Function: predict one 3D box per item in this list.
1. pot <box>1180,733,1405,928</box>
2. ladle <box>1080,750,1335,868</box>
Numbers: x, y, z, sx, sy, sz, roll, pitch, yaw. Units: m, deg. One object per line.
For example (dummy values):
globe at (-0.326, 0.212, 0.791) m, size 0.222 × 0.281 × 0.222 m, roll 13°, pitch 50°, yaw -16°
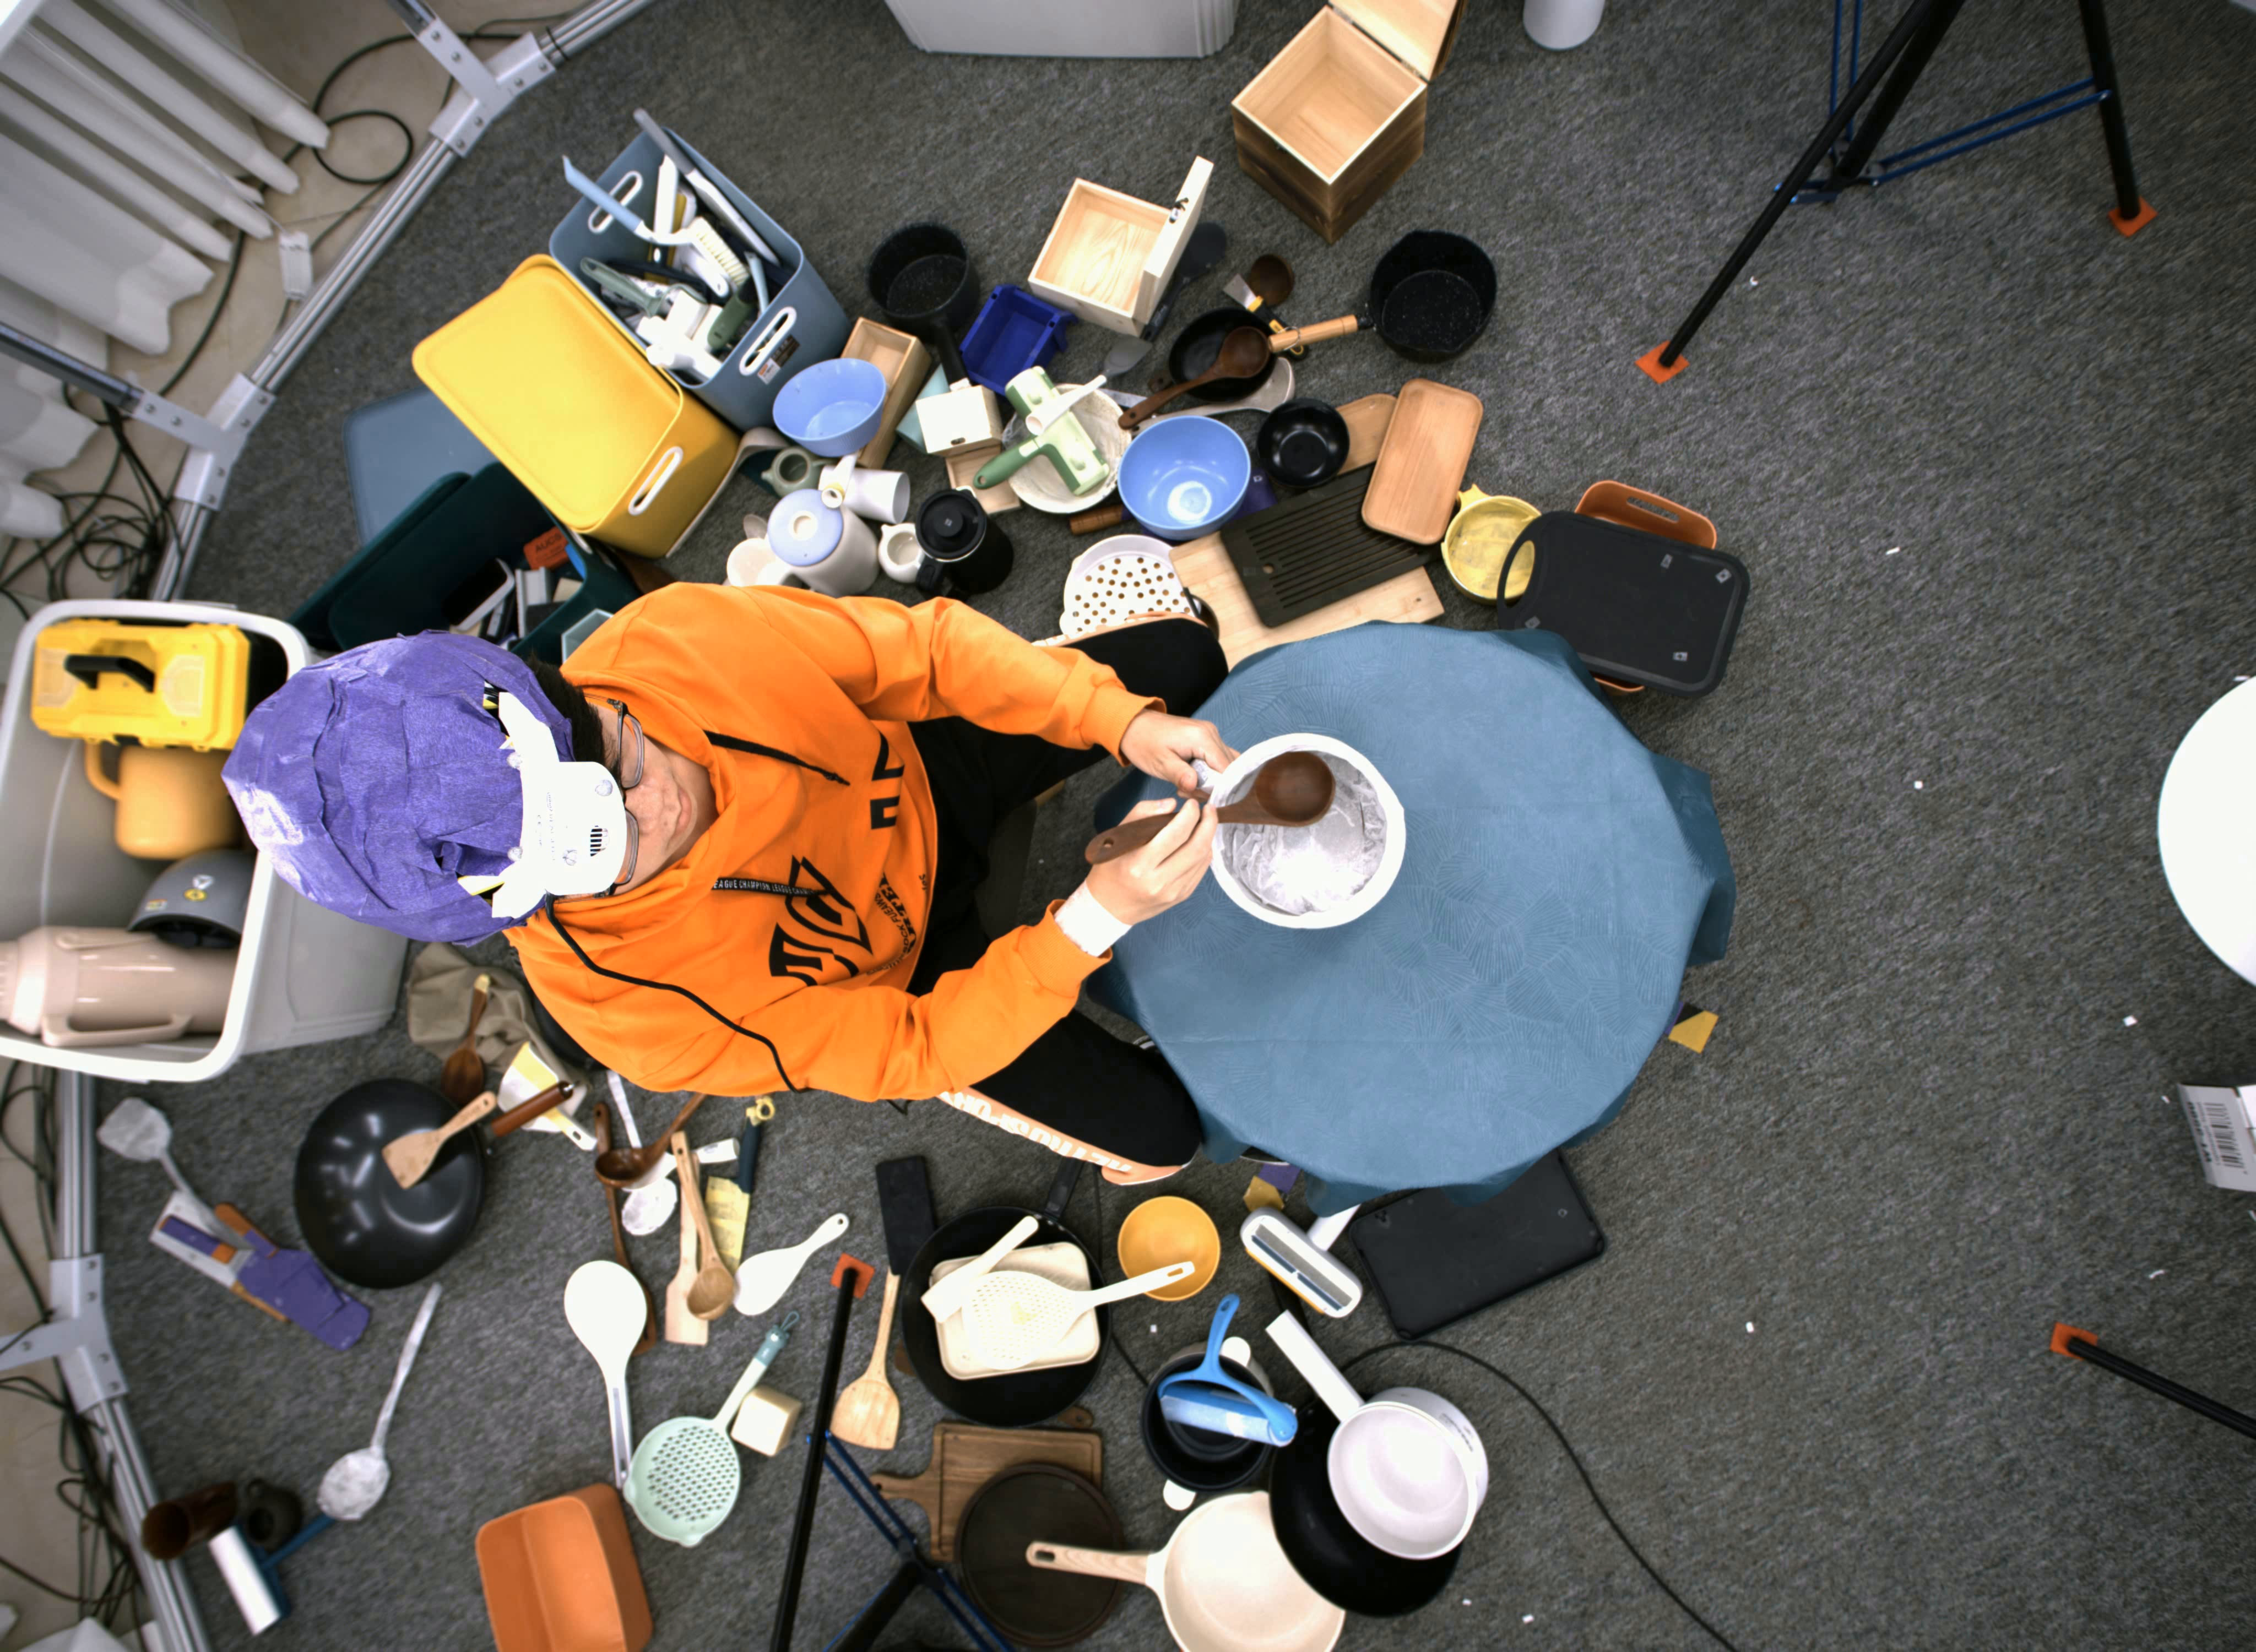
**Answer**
pot at (0.149, -0.005, 1.321) m, size 0.233 × 0.136 × 0.179 m, roll 28°, pitch 95°, yaw 15°
ladle at (0.074, -0.015, 1.227) m, size 0.257 × 0.067 × 0.075 m, roll -13°, pitch 57°, yaw -32°
